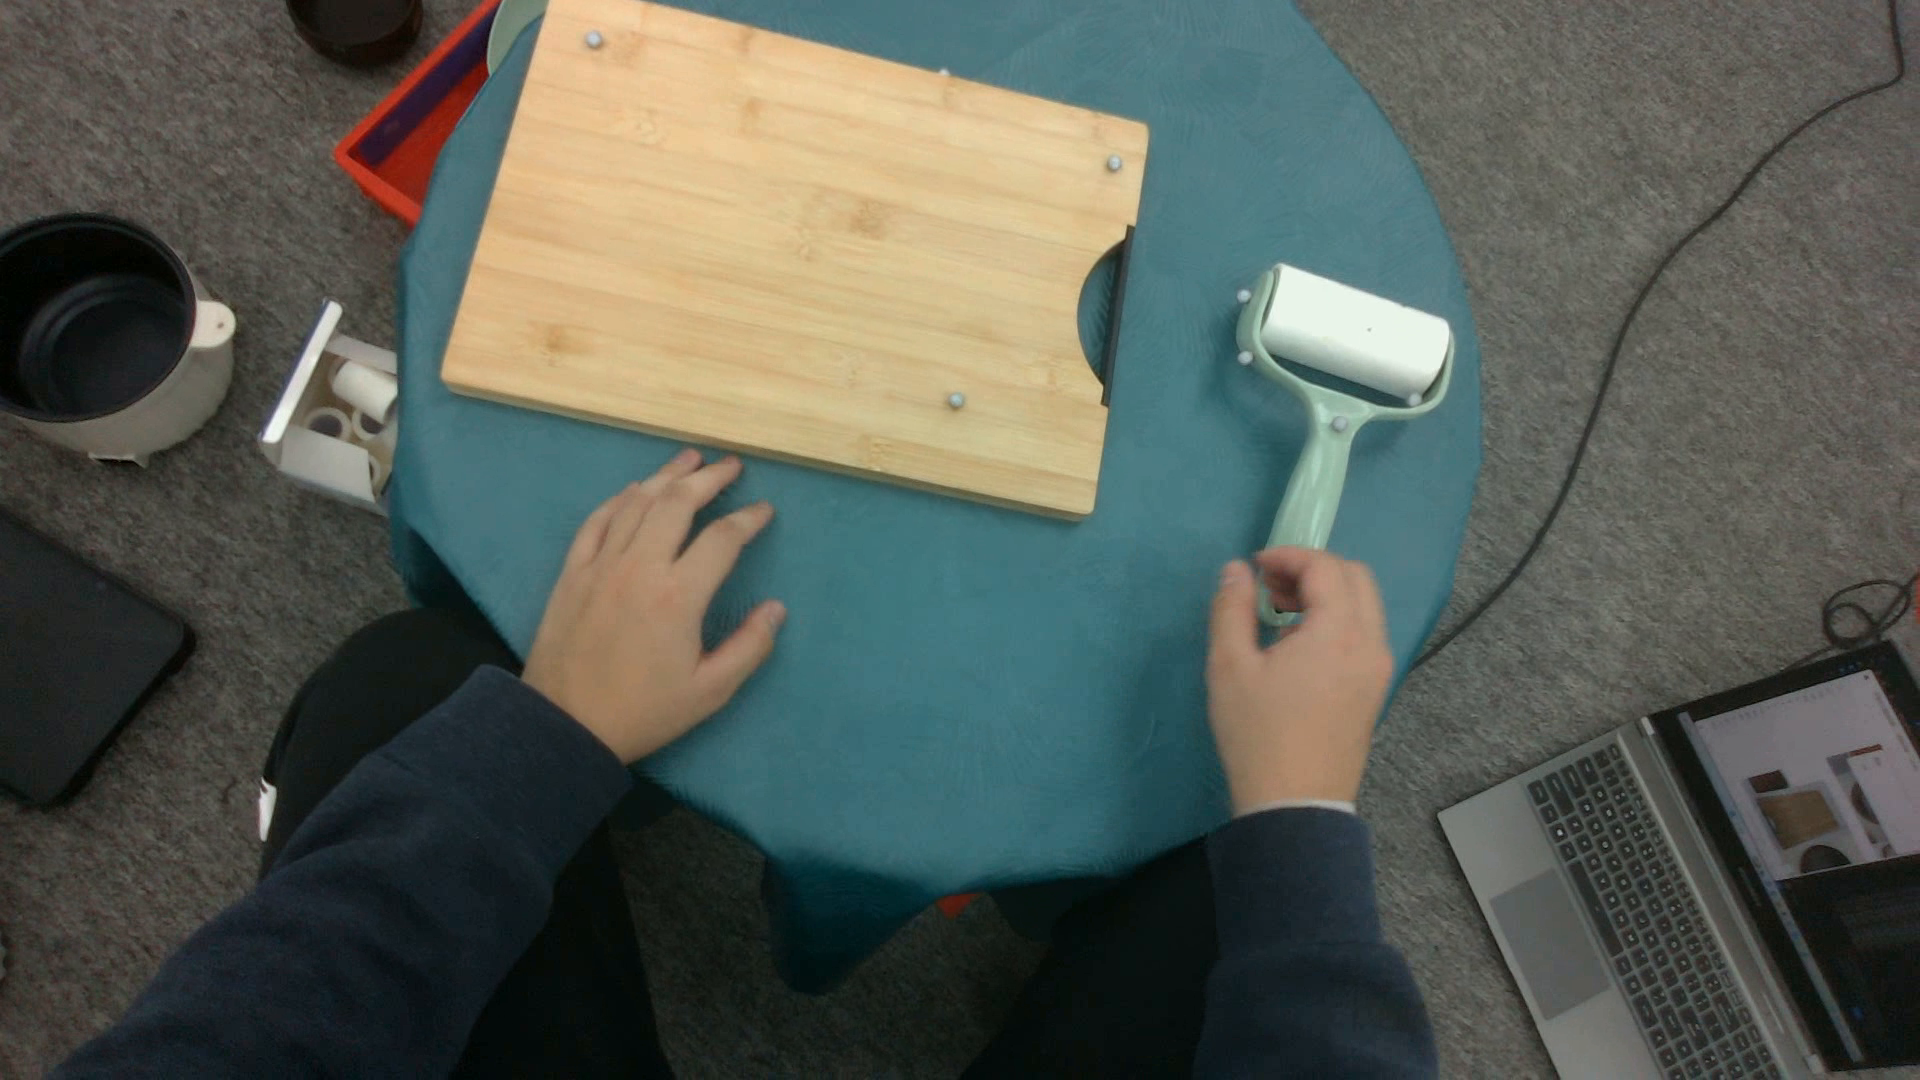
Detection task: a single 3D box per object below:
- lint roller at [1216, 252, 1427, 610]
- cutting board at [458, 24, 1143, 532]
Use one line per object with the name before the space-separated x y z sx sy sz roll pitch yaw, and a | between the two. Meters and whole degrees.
lint roller | 0.190 -0.060 0.766 0.116 0.048 0.198 14 75 -6
cutting board | -0.077 -0.147 0.765 0.349 0.023 0.251 7 74 -6
